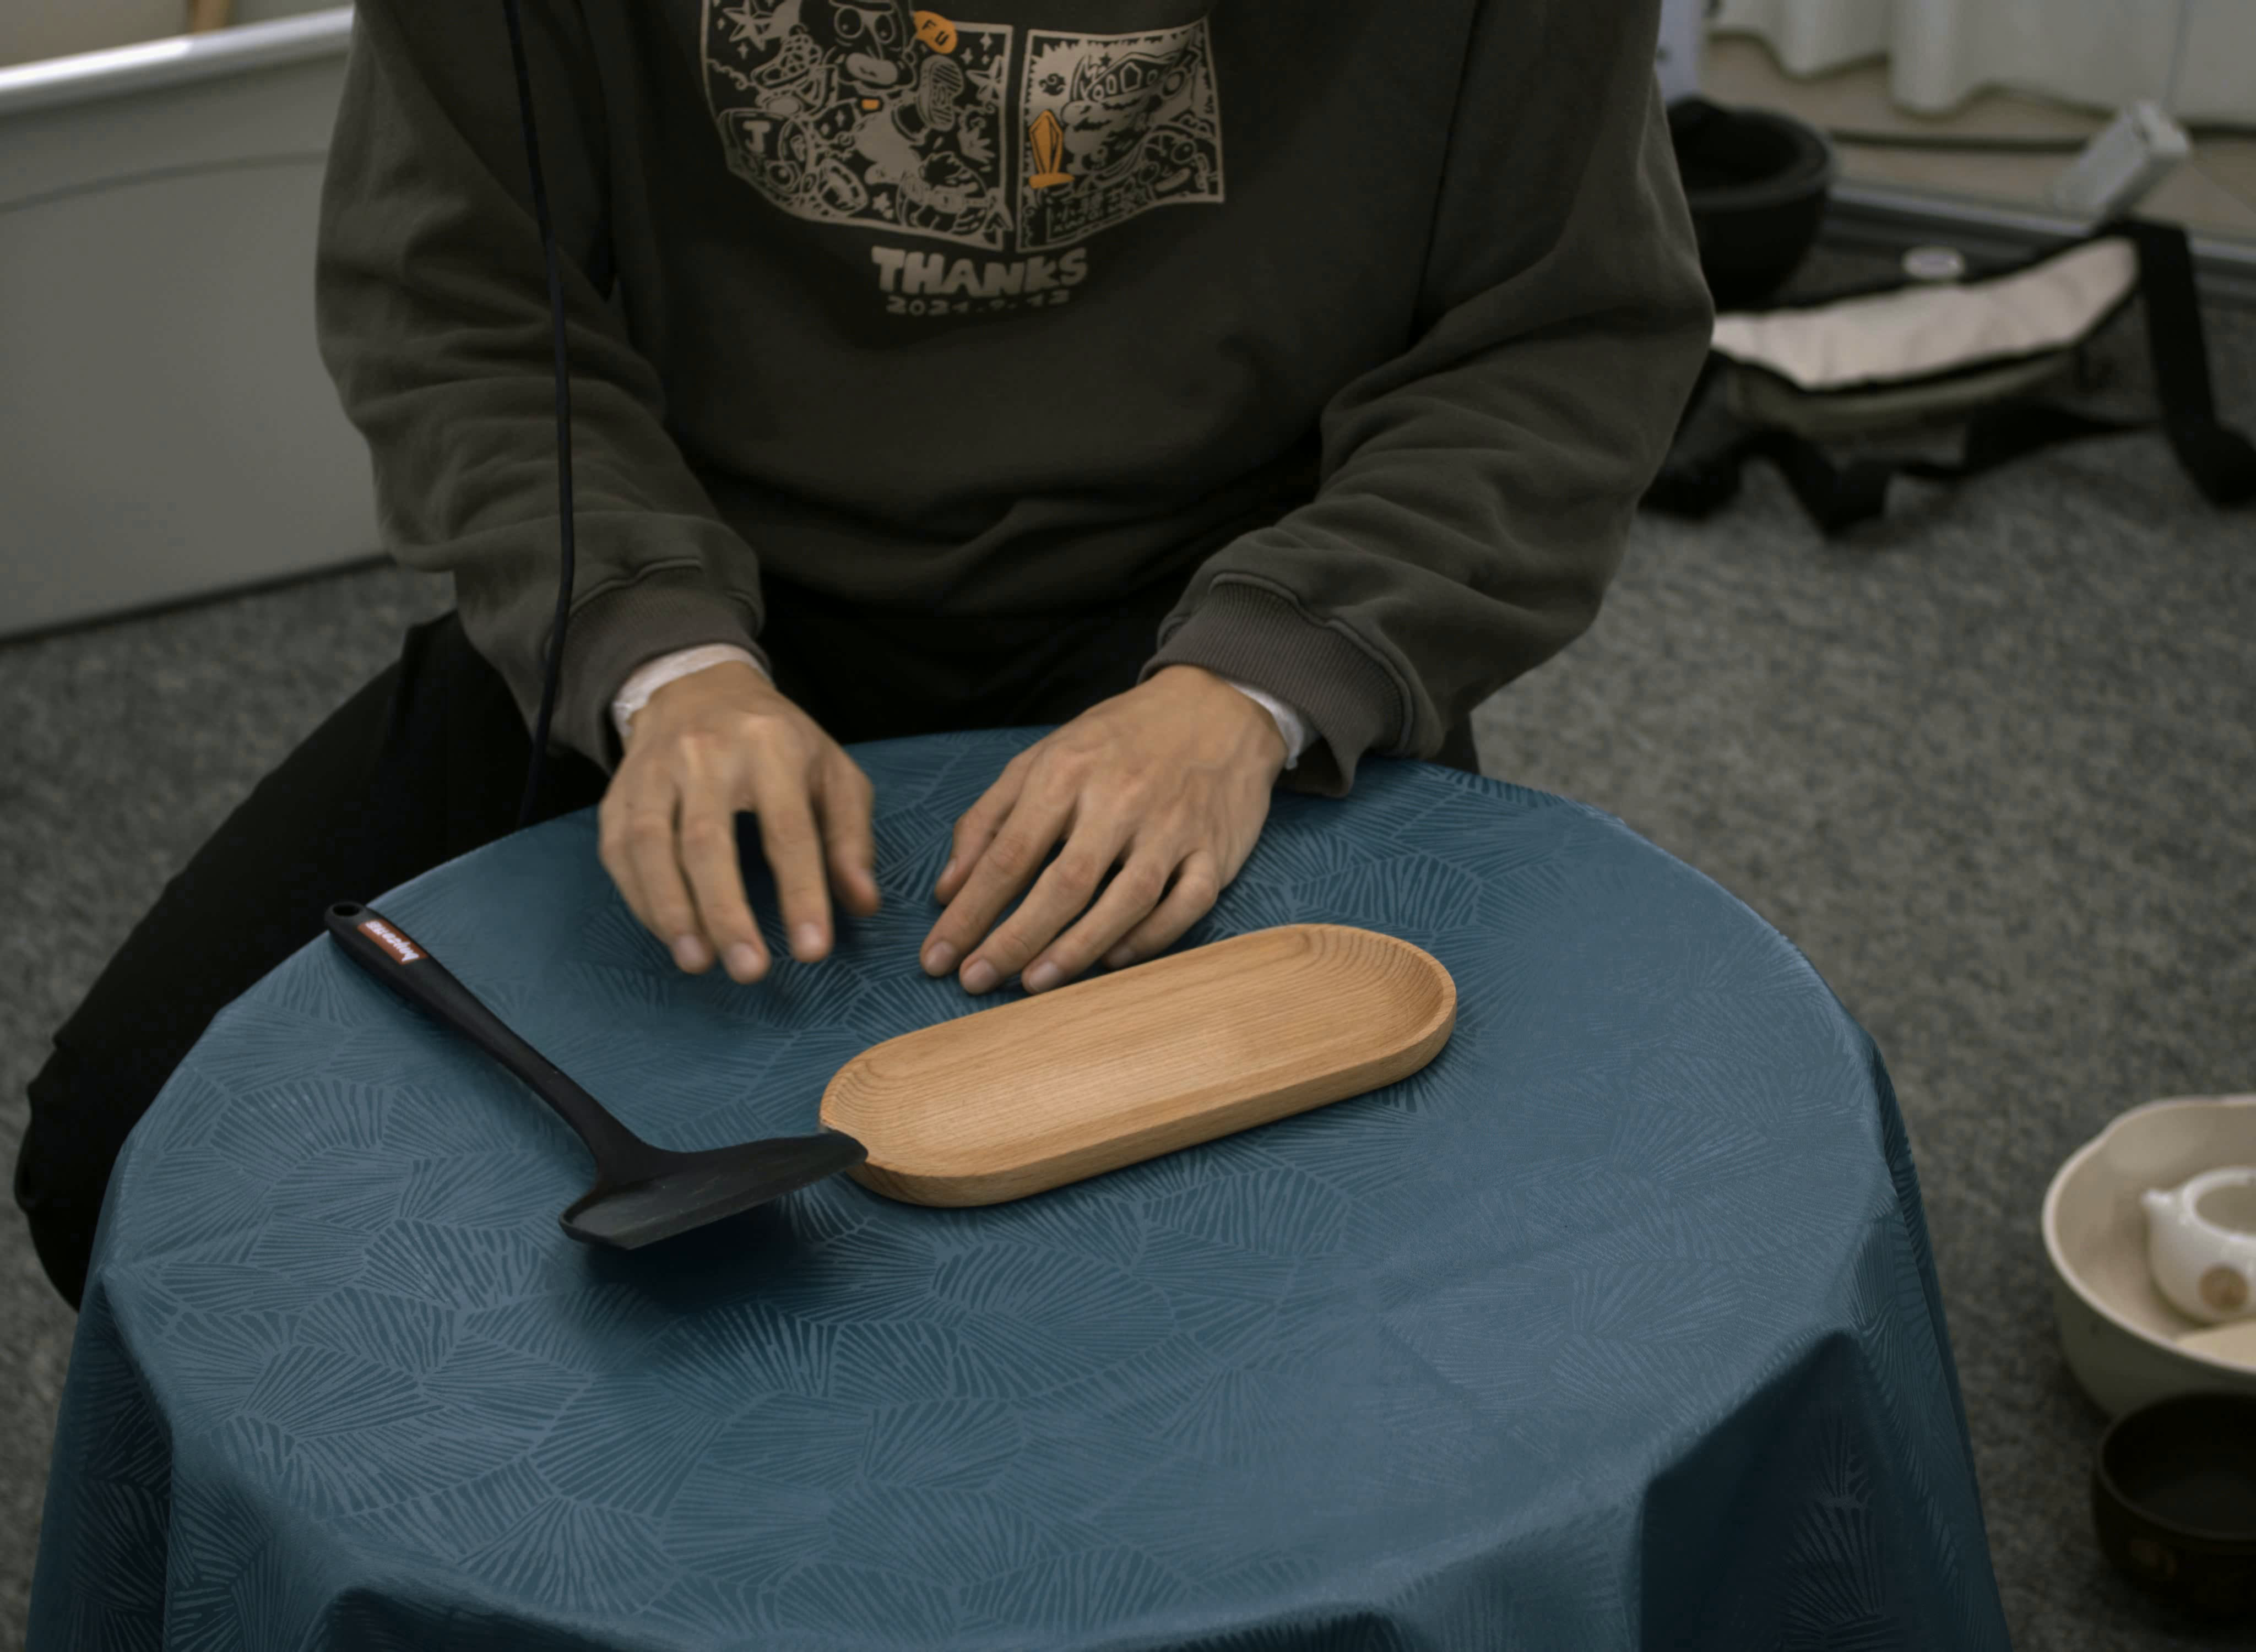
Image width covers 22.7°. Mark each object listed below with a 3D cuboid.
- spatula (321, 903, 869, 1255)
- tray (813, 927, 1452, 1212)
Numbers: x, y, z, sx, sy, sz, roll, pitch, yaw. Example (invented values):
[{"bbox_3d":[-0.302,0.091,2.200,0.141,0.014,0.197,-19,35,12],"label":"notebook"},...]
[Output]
[{"bbox_3d":[-0.205,0.079,1.924,0.100,0.040,0.327,-17,31,-28],"label":"spatula"},{"bbox_3d":[0.003,0.083,1.917,0.232,0.020,0.102,-17,30,-22],"label":"tray"}]
